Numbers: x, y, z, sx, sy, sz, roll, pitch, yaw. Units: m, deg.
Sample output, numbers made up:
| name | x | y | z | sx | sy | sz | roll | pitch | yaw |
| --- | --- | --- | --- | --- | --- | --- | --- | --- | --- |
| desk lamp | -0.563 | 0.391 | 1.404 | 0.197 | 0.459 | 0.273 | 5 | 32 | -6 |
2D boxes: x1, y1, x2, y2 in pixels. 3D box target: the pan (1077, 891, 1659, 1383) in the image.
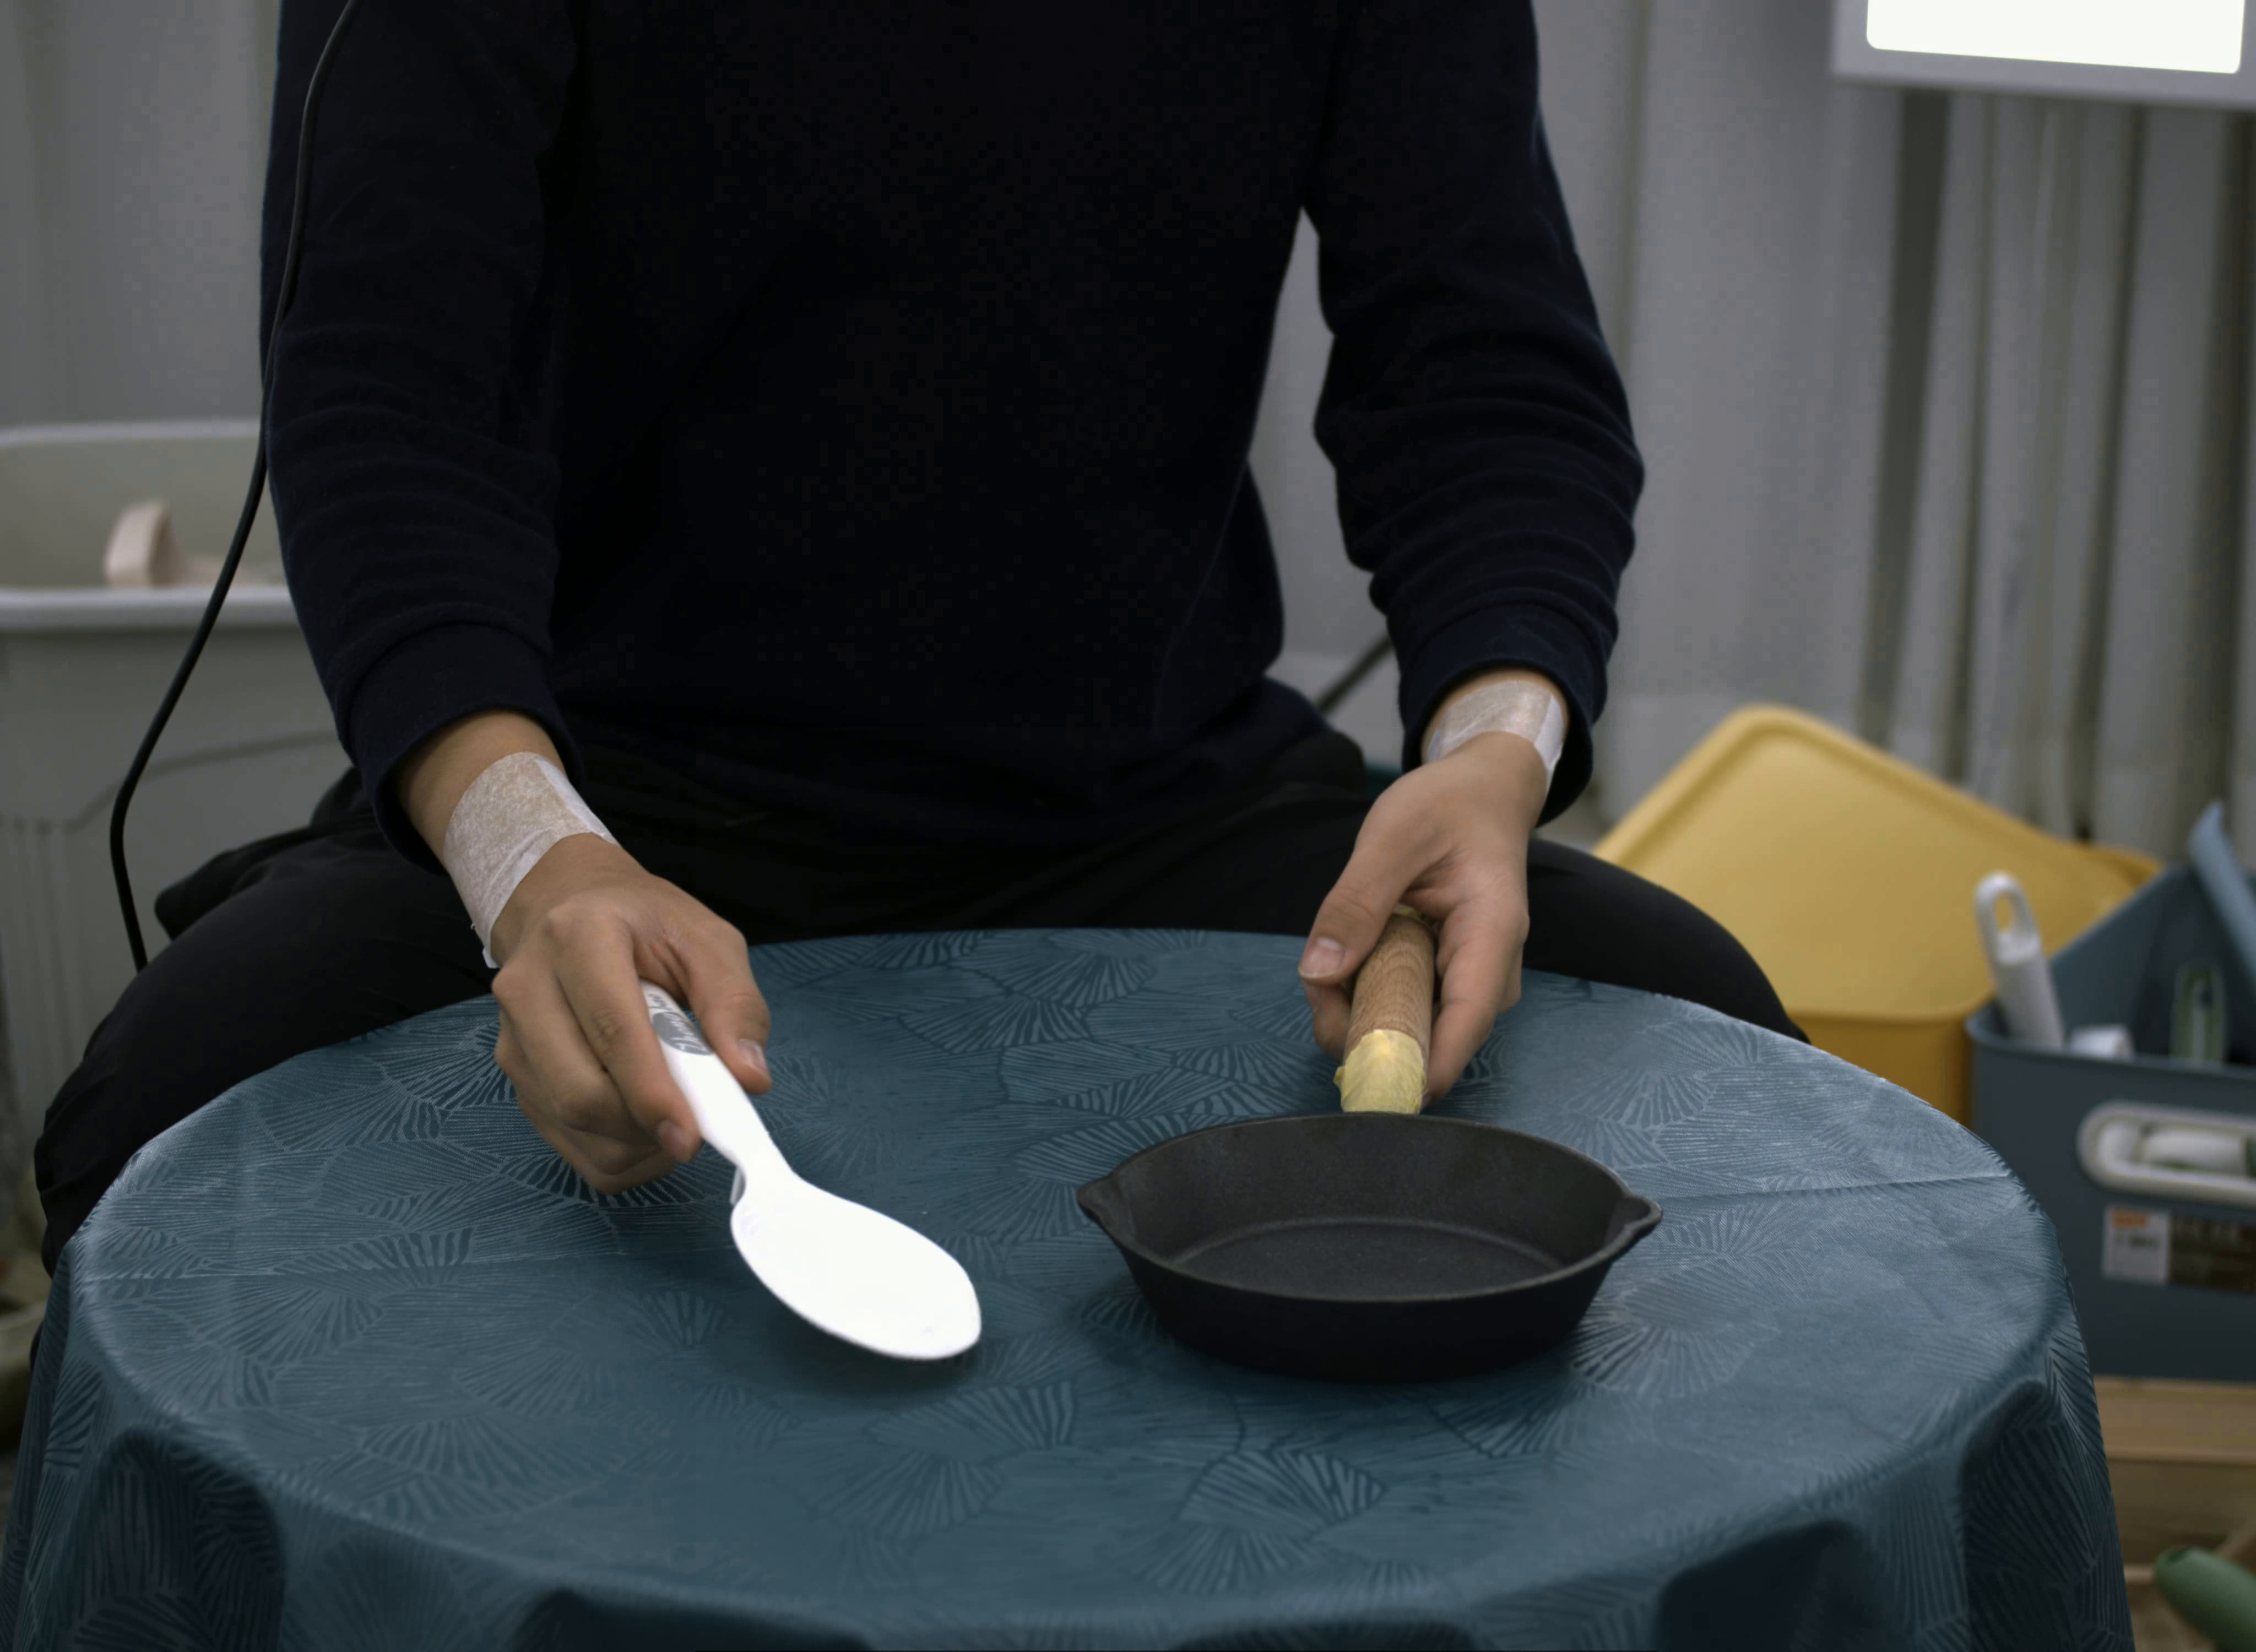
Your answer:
| name | x | y | z | sx | sy | sz | roll | pitch | yaw |
| --- | --- | --- | --- | --- | --- | --- | --- | --- | --- |
| pan | 0.079 | 0.091 | 1.602 | 0.168 | 0.050 | 0.323 | 2 | 18 | 6 |

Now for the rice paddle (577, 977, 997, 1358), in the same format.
| name | x | y | z | sx | sy | sz | roll | pitch | yaw |
| --- | --- | --- | --- | --- | --- | --- | --- | --- | --- |
| rice paddle | -0.103 | 0.101 | 1.532 | 0.069 | 0.029 | 0.202 | 0 | 25 | -34 |
